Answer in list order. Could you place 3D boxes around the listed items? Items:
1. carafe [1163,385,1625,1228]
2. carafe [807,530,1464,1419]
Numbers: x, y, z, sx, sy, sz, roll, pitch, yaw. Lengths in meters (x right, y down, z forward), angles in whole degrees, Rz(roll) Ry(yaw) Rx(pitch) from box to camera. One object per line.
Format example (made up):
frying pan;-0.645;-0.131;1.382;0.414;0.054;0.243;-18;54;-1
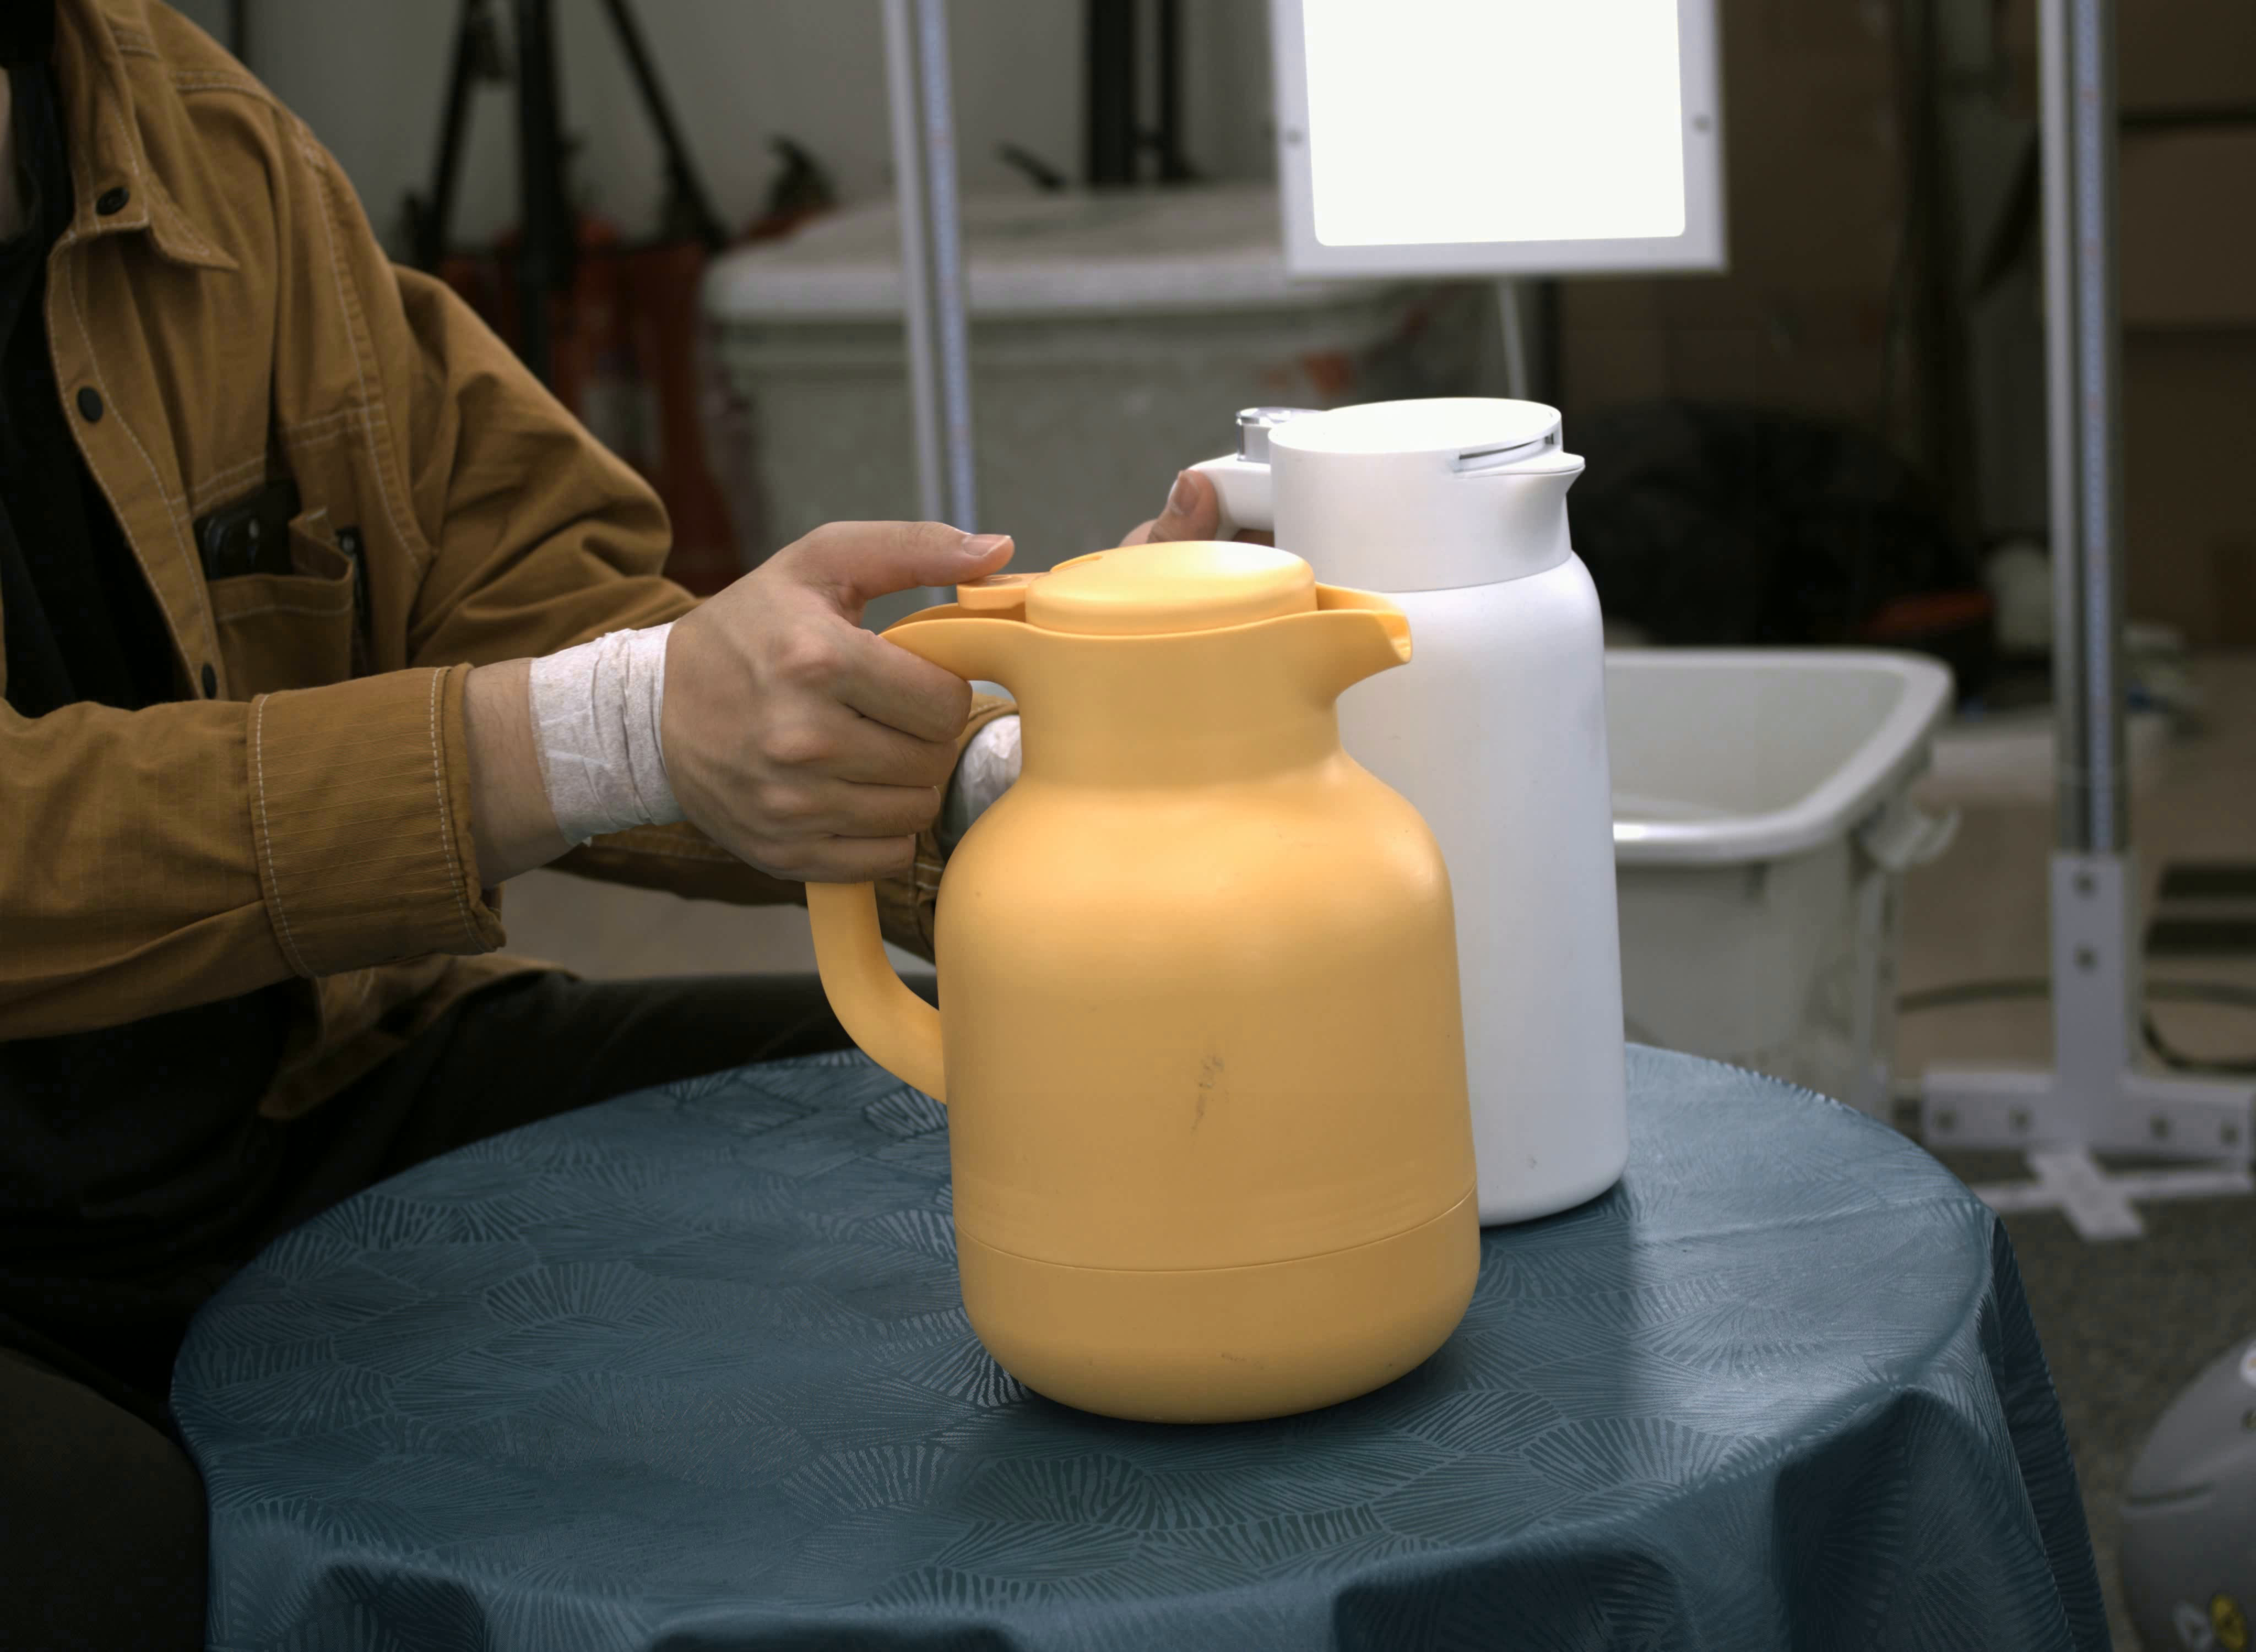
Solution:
carafe;0.089;-0.008;1.853;0.176;0.270;0.121;8;21;42
carafe;0.002;0.040;1.693;0.205;0.261;0.160;2;12;20
